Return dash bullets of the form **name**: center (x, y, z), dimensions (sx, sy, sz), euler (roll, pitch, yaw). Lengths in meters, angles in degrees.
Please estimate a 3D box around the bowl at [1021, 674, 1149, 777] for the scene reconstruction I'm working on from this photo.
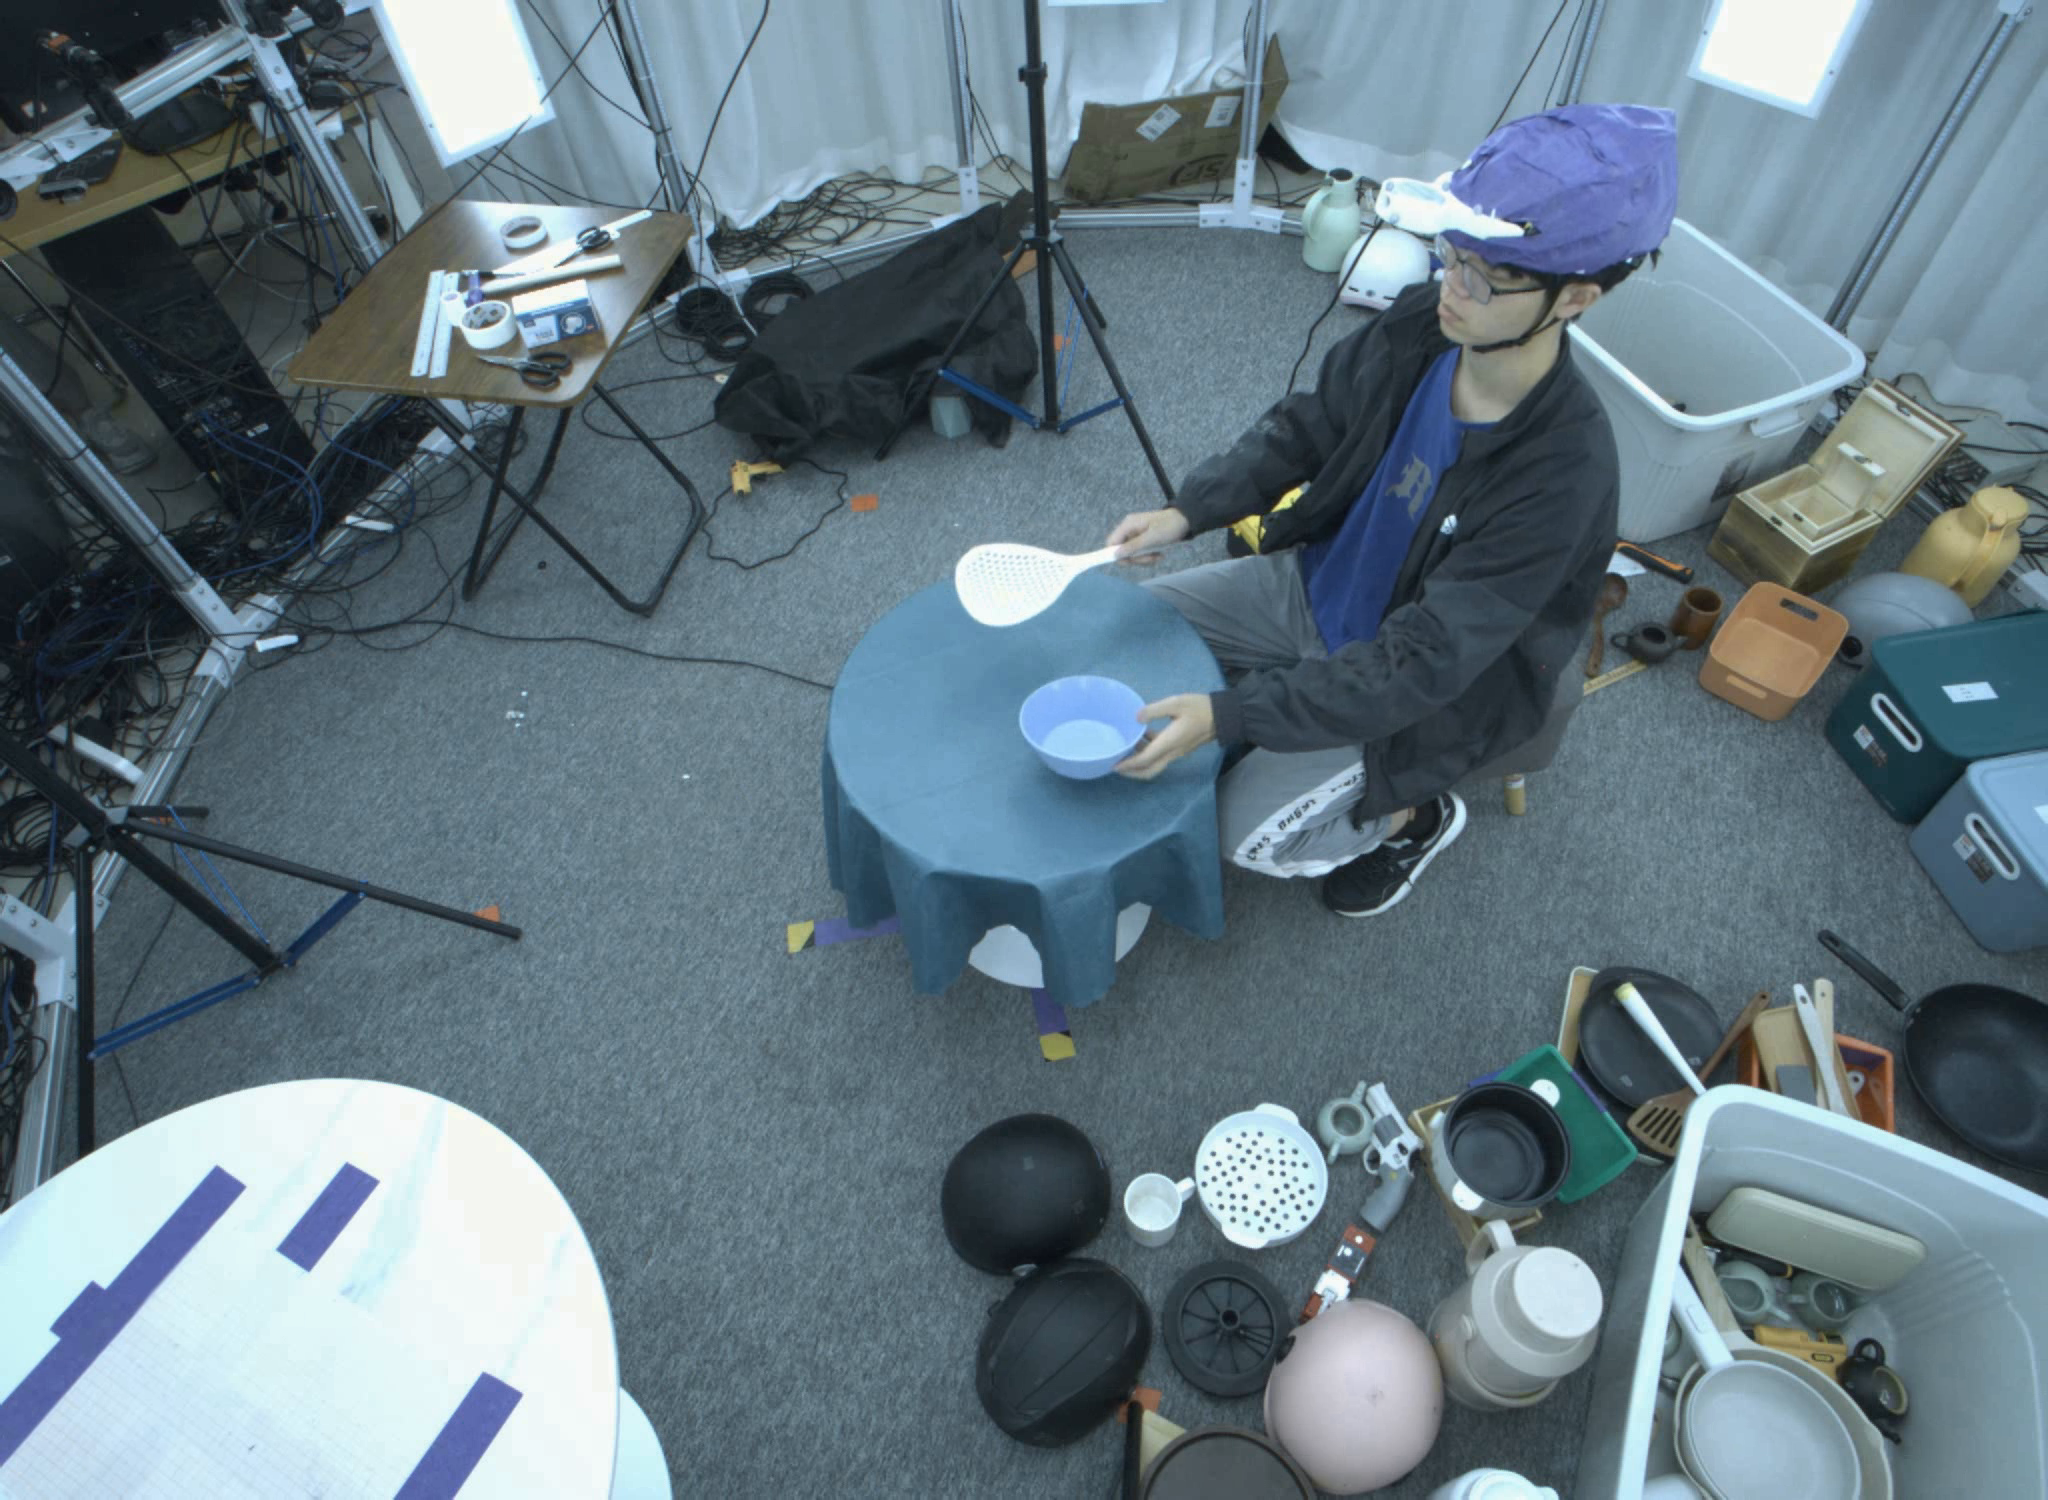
- **bowl**: center (0.084, -0.025, 1.706), dimensions (0.176, 0.071, 0.174), euler (0, 43, 1)

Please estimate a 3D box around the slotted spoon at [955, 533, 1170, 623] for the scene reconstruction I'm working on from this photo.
- **slotted spoon**: center (0.066, -0.272, 1.813), dimensions (0.351, 0.050, 0.135), euler (-19, 72, -15)
